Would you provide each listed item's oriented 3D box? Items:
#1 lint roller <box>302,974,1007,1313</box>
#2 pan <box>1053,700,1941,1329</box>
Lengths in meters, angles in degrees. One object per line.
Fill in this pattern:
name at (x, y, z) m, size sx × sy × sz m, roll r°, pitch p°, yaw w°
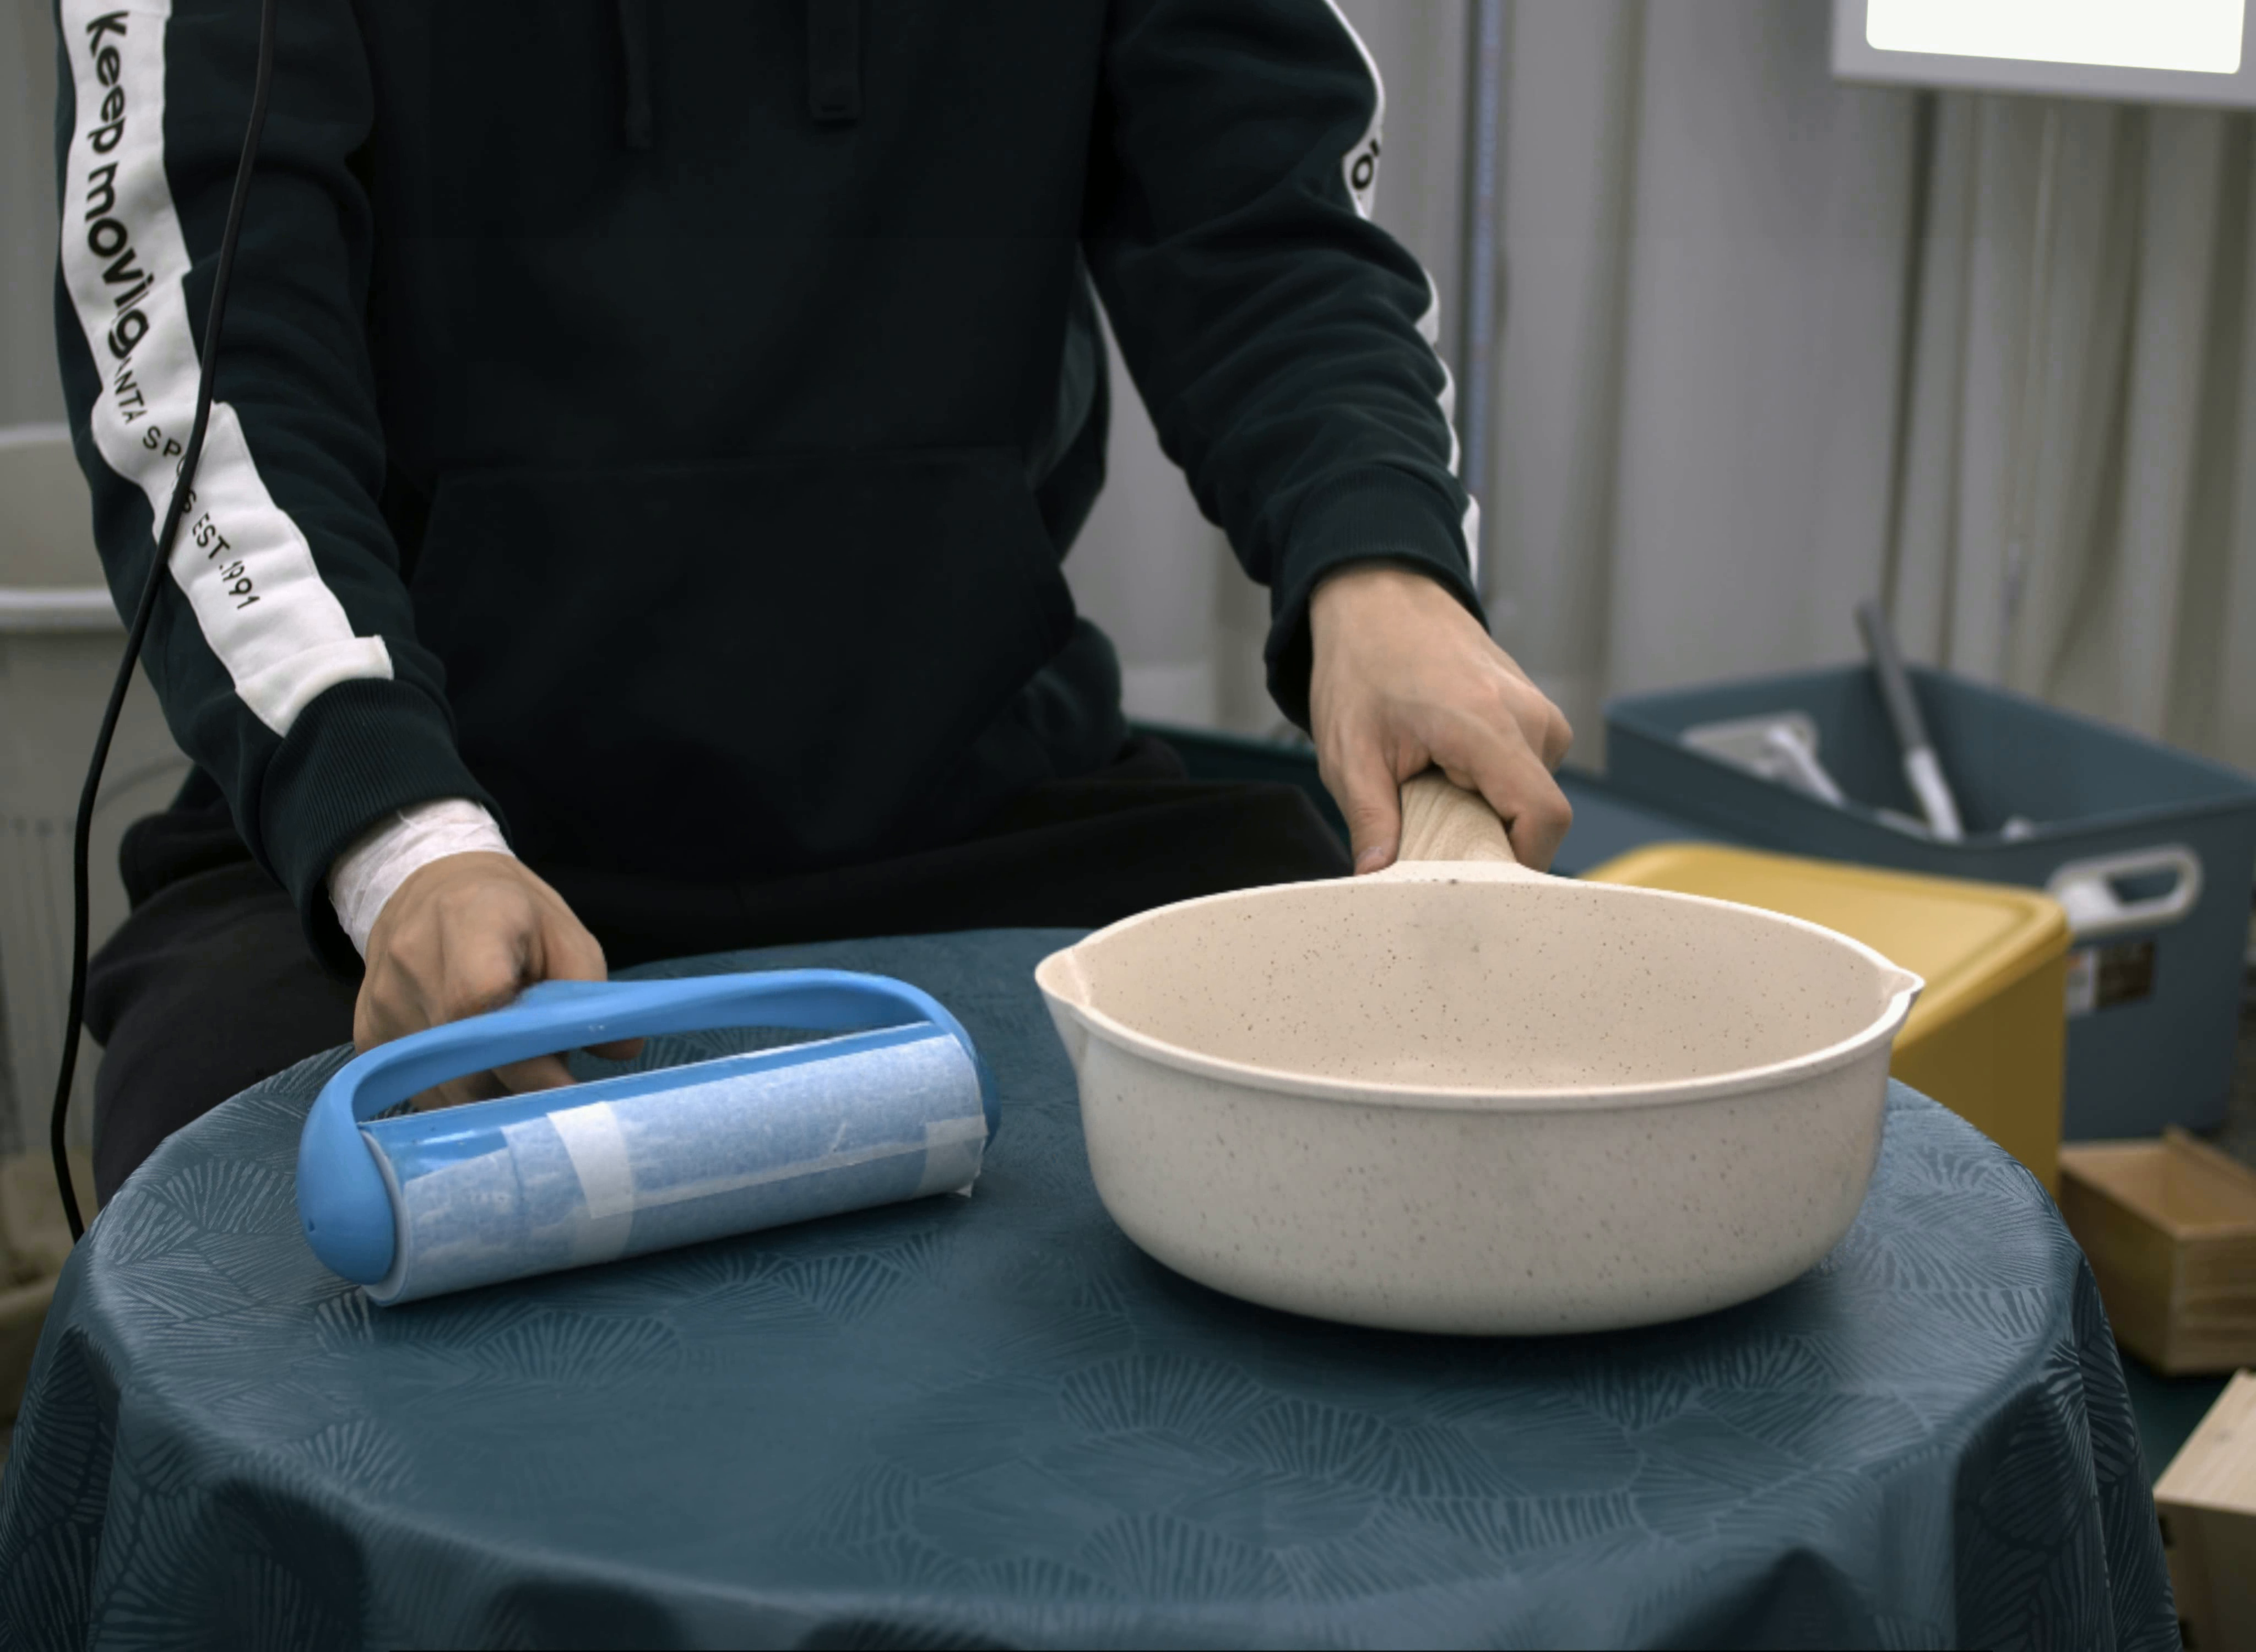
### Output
lint roller at (-0.170, 0.081, 1.607) m, size 0.230 × 0.068 × 0.178 m, roll -12°, pitch 24°, yaw -34°
pan at (0.108, 0.054, 1.645) m, size 0.262 × 0.103 × 0.432 m, roll -1°, pitch 13°, yaw -1°
